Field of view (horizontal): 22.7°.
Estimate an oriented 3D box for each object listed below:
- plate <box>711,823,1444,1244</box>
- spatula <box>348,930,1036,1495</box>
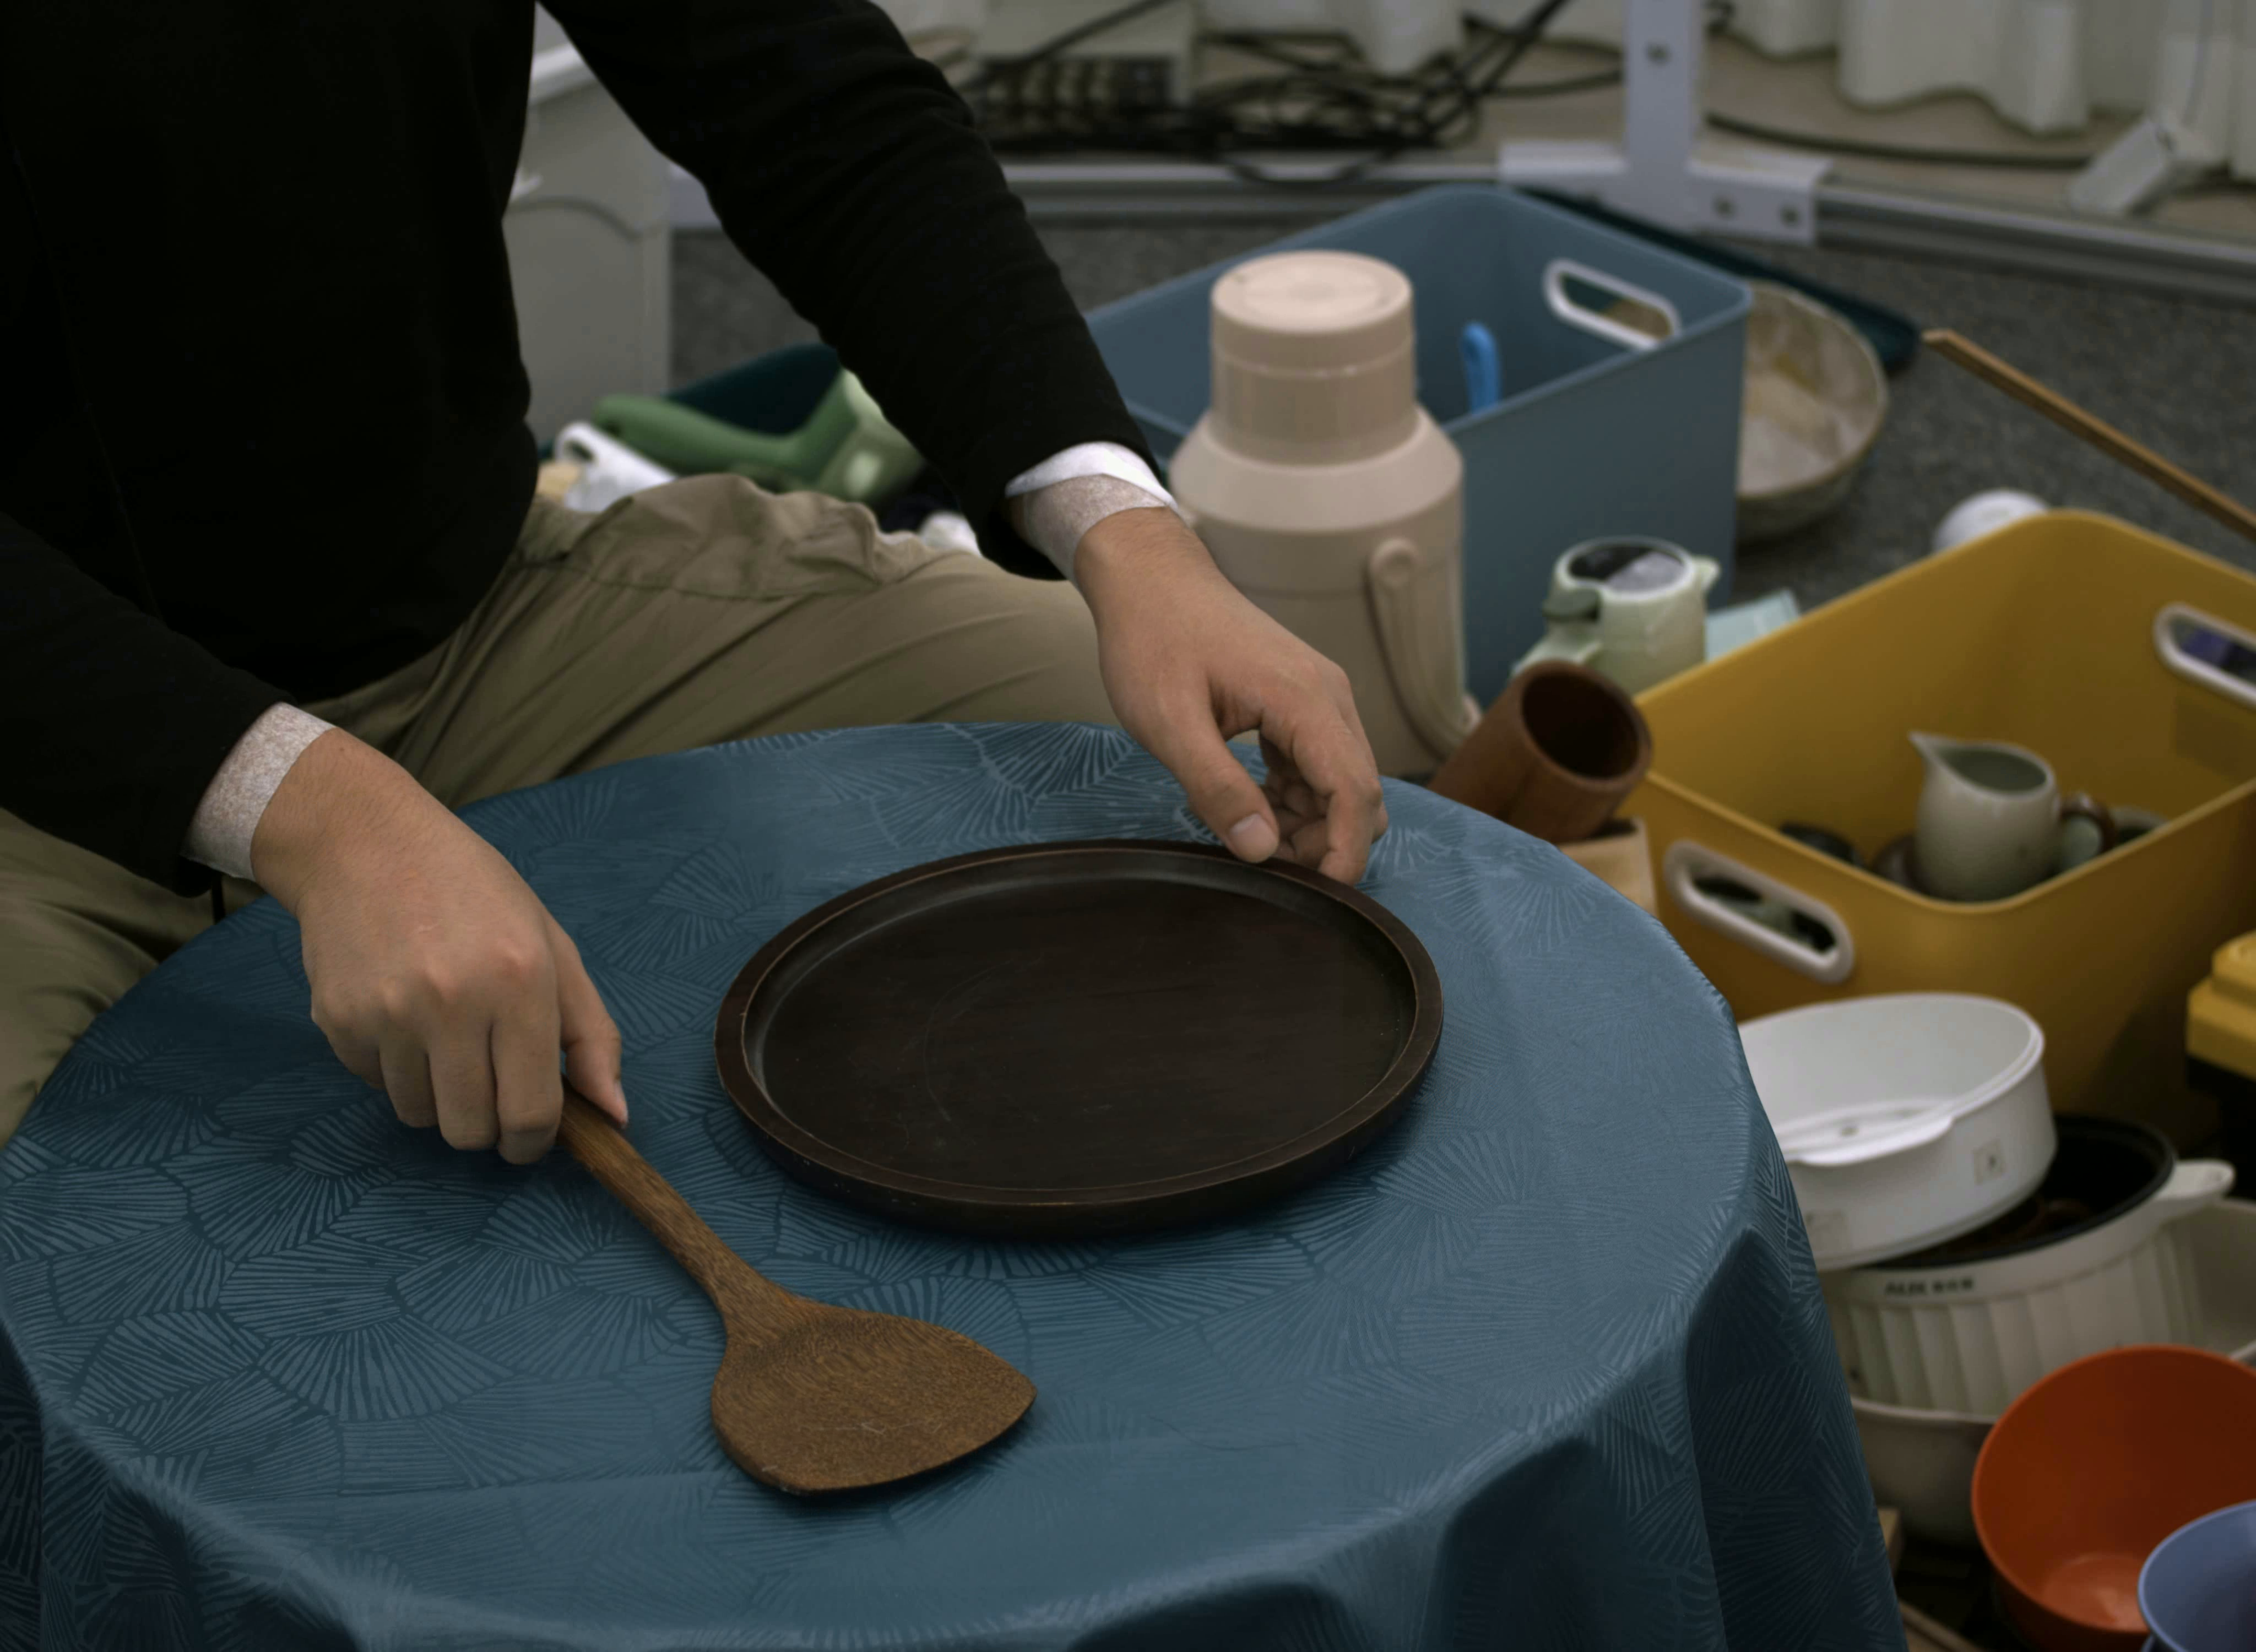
[{"bbox_3d":[-0.017,0.072,1.932,0.253,0.029,0.259,-3,28,2],"label":"plate"},{"bbox_3d":[-0.164,0.118,1.852,0.097,0.015,0.387,-18,34,-29],"label":"spatula"}]
